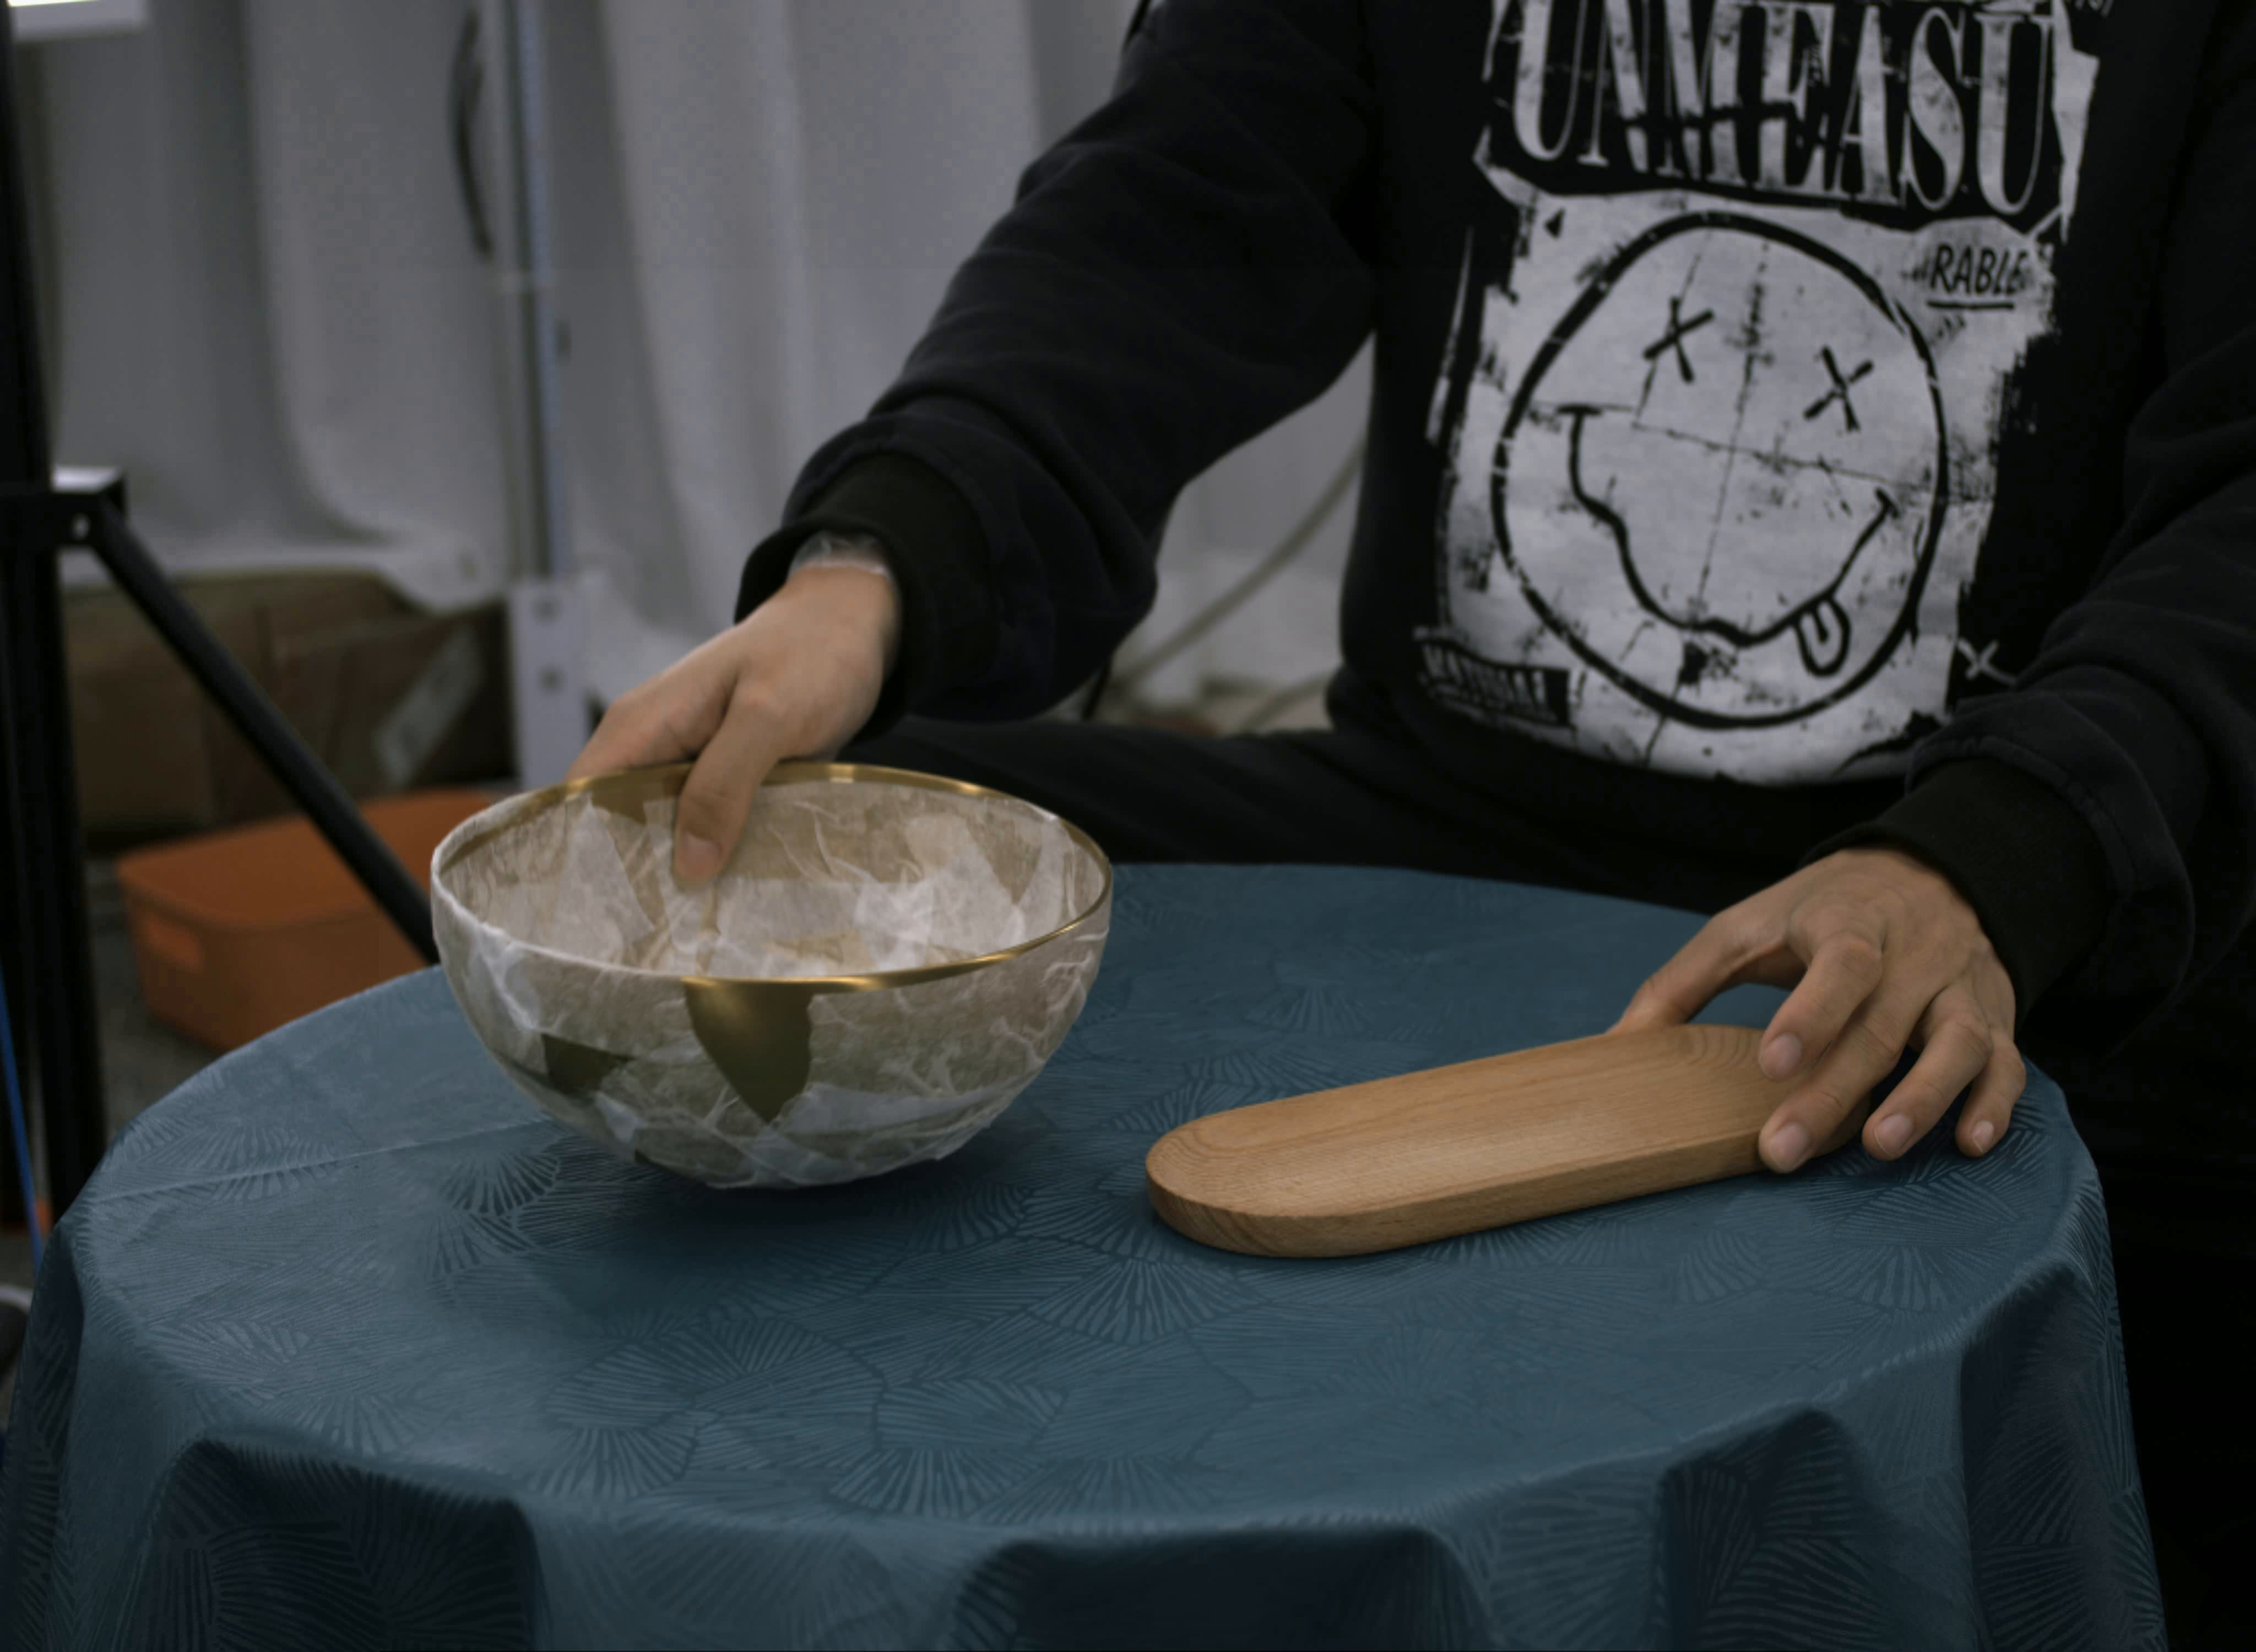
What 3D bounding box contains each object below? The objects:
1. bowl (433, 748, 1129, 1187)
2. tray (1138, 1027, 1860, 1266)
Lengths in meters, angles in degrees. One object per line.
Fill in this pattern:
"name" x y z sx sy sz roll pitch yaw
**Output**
"bowl" -0.101 0.052 1.586 0.213 0.094 0.216 1 18 -2
"tray" 0.111 0.094 1.561 0.226 0.020 0.104 -12 17 -24
